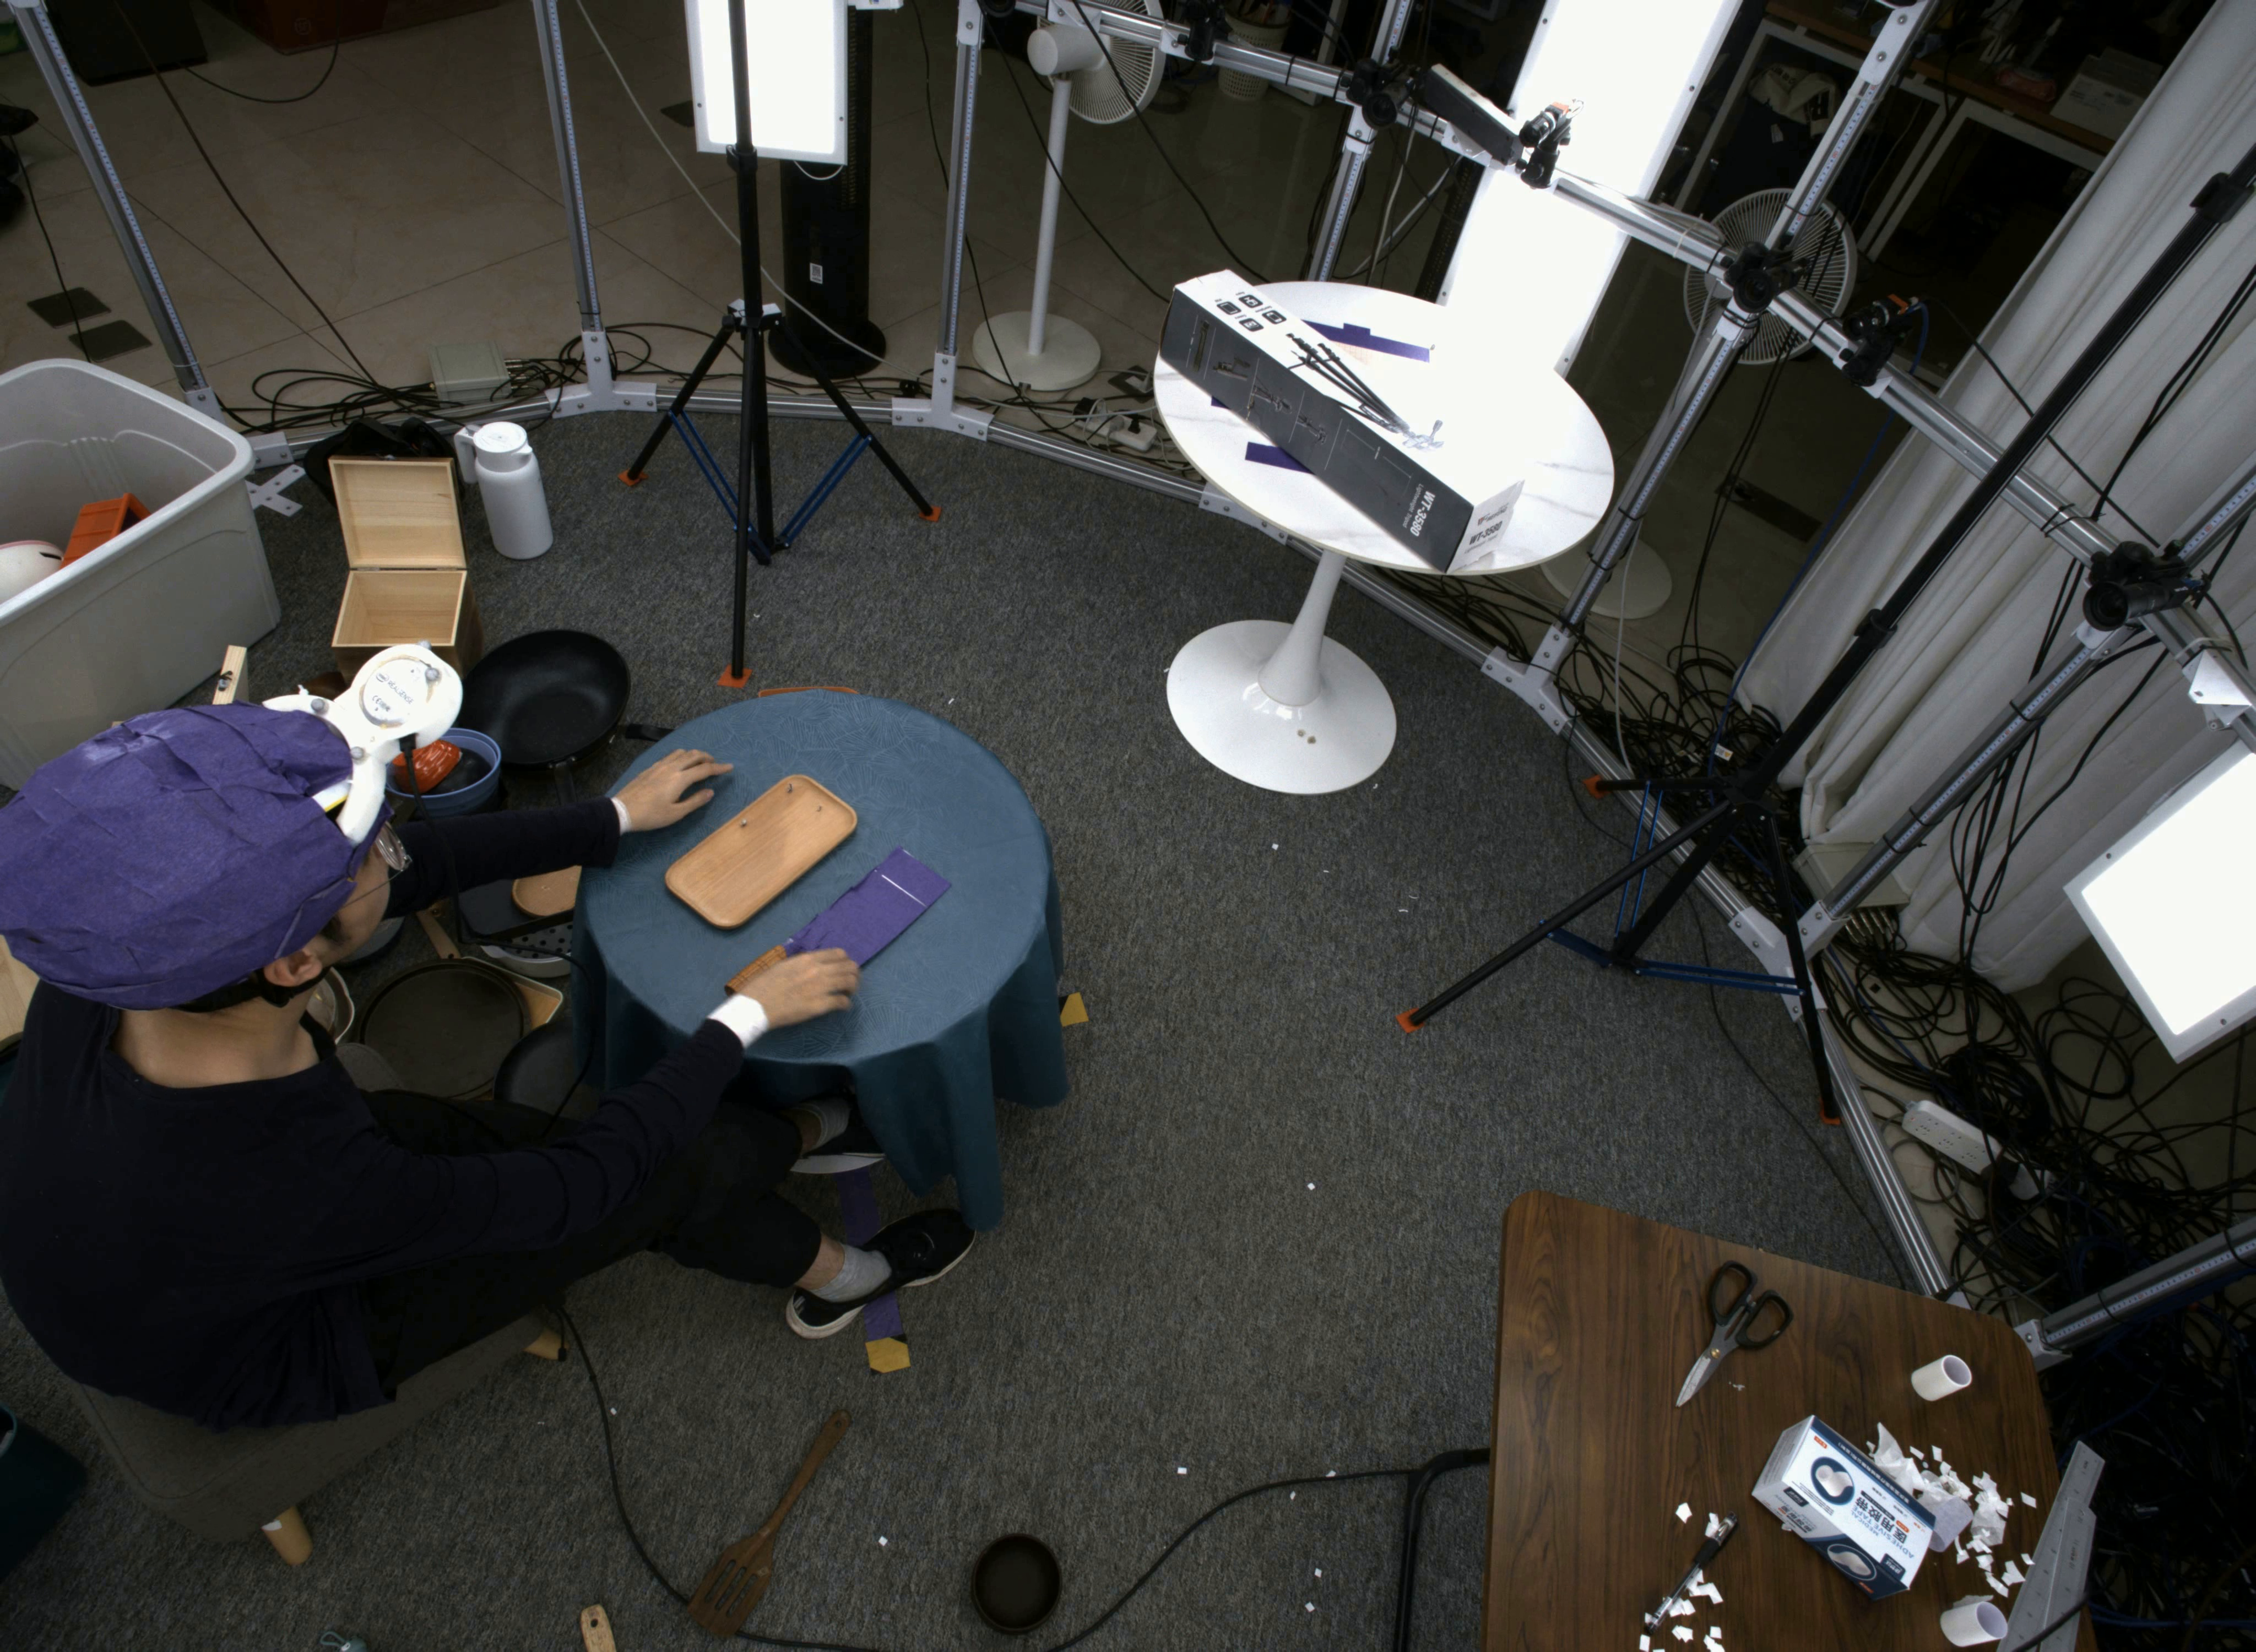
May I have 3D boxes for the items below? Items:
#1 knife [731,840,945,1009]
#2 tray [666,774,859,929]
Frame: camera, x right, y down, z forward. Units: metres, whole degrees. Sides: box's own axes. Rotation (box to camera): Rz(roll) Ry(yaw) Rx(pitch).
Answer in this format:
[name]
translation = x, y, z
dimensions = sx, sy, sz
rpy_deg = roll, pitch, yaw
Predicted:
[knife]
translation = -0.356, 0.132, 1.638
dimensions = 0.102, 0.033, 0.315
rpy_deg = 35, 53, 12
[tray]
translation = -0.475, 0.029, 1.690
dimensions = 0.127, 0.023, 0.251
rpy_deg = 36, 55, 16
